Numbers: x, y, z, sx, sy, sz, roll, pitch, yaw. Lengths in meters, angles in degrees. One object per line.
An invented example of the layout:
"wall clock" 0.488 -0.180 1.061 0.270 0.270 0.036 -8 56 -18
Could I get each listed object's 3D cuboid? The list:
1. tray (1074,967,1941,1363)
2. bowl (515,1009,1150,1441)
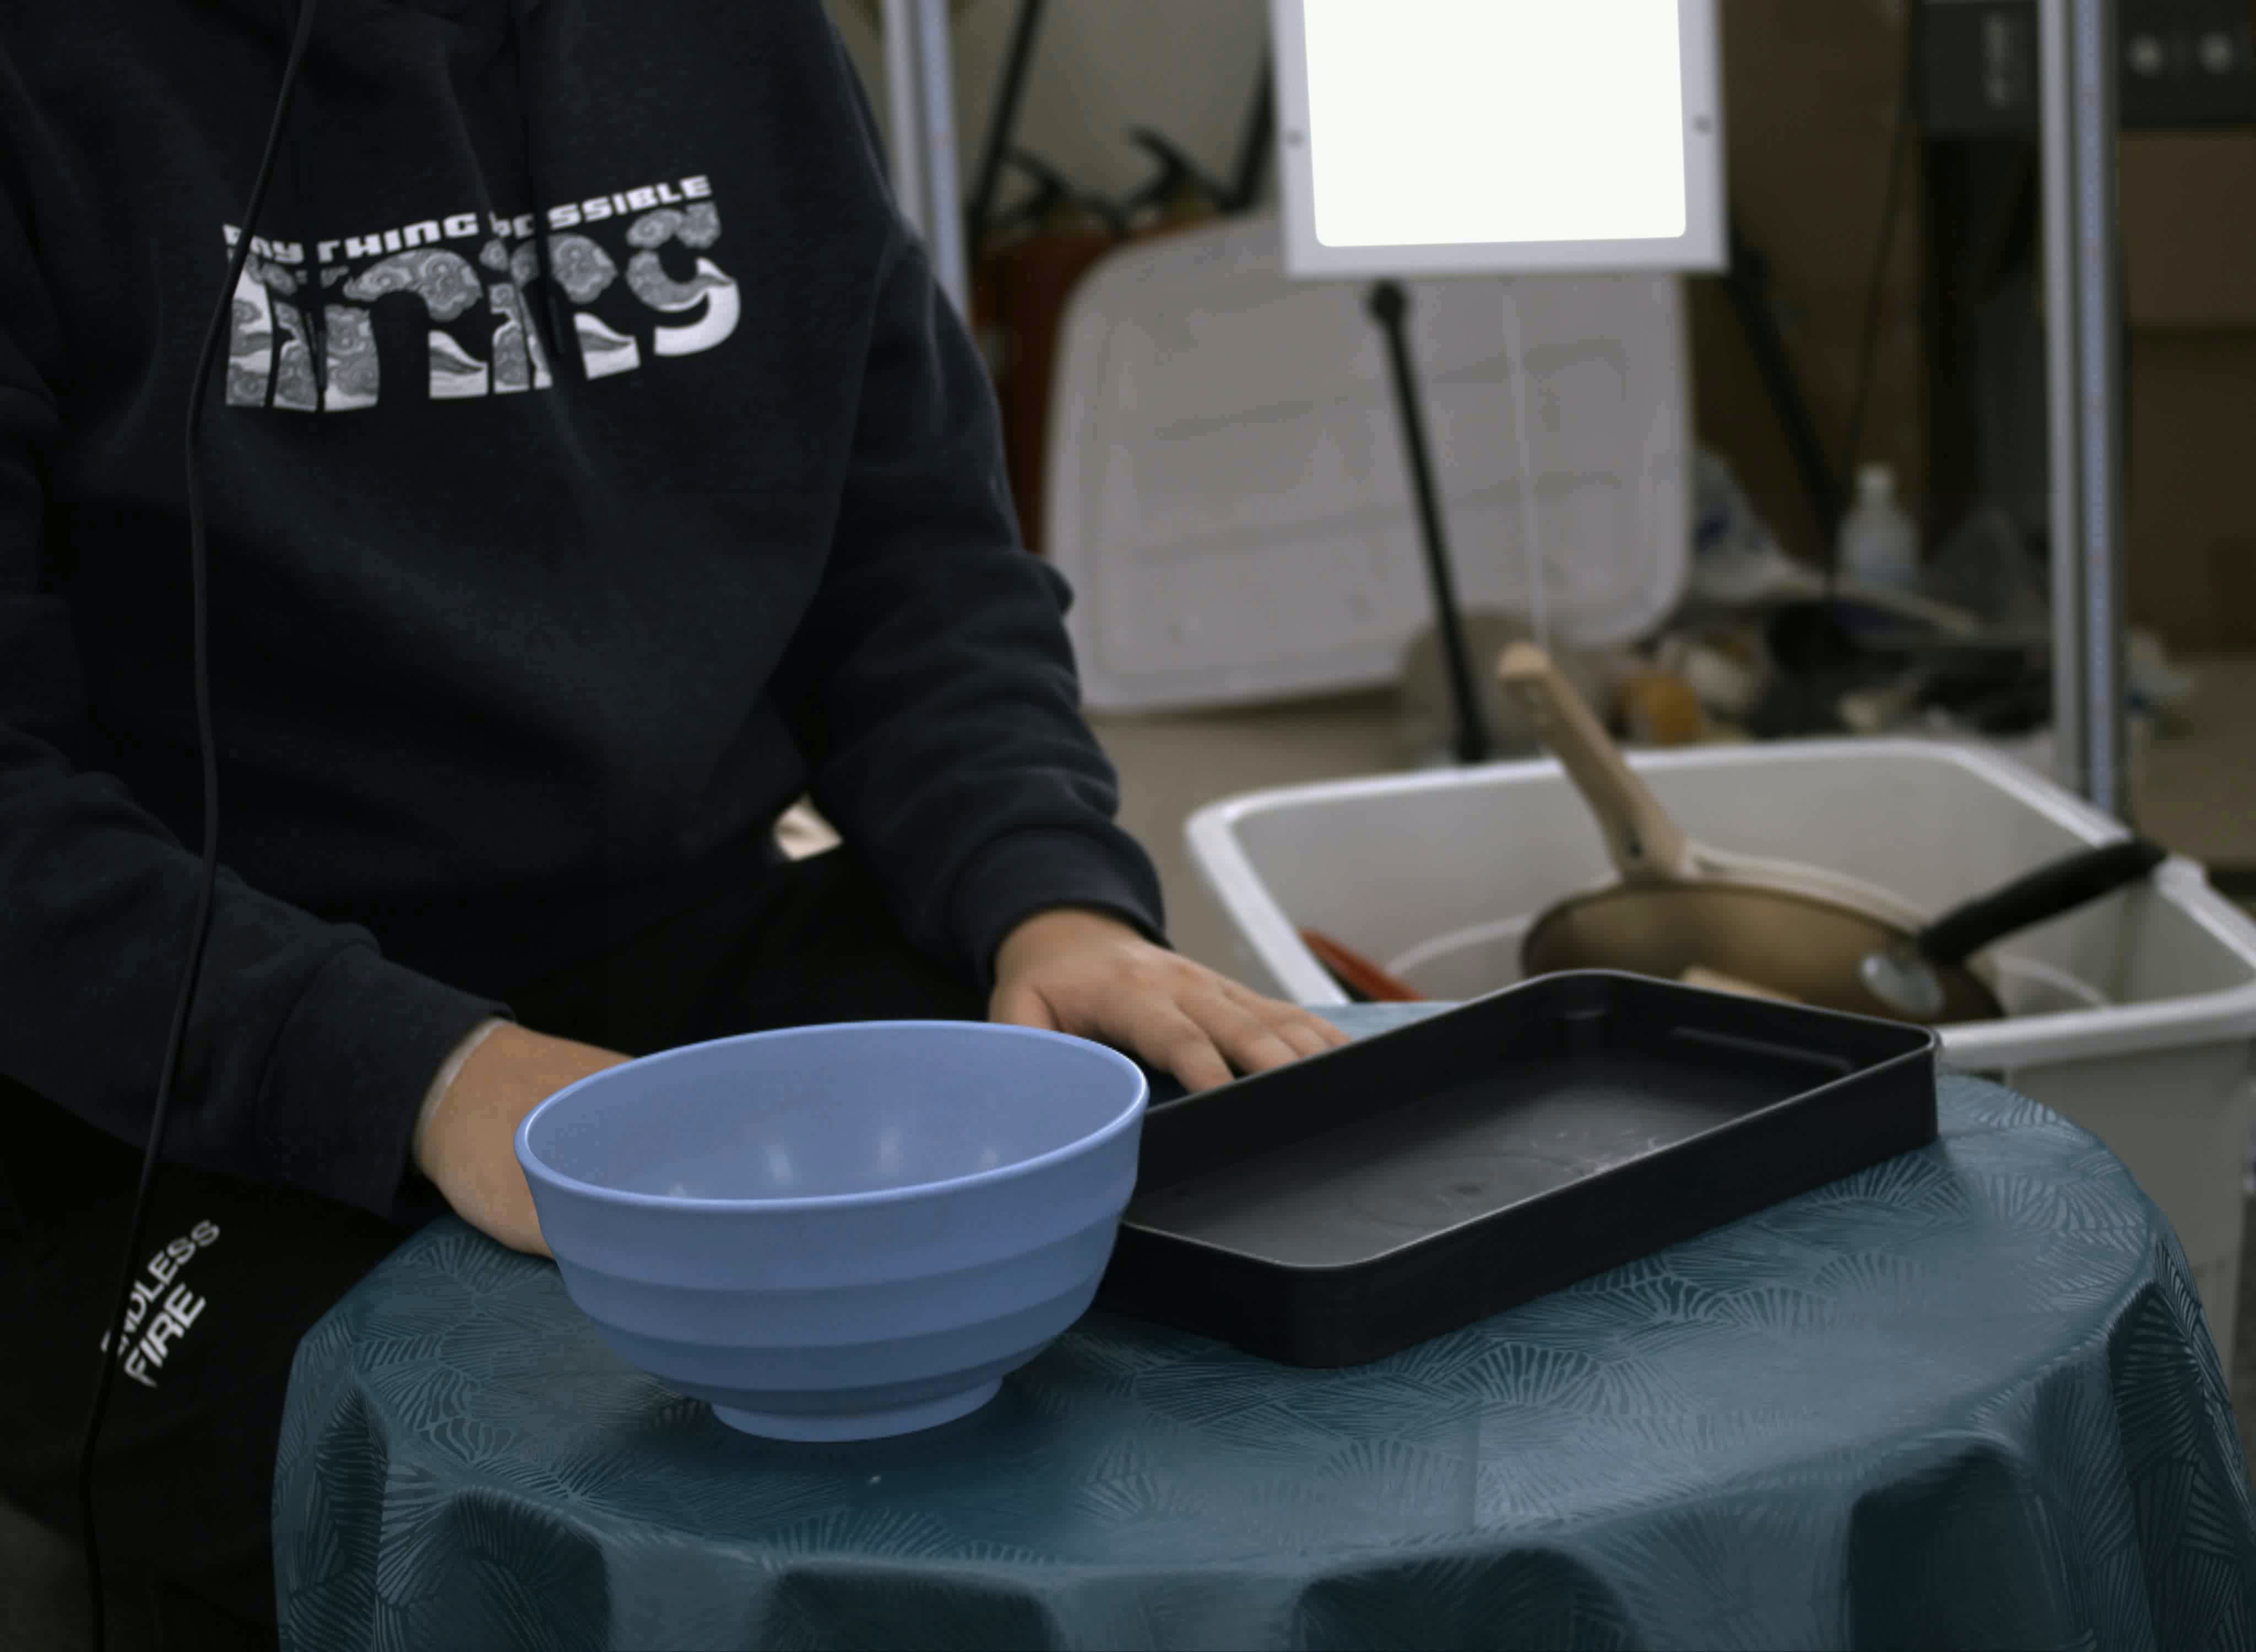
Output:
"tray" 0.114 0.109 1.850 0.310 0.037 0.188 -16 17 -39
"bowl" -0.088 0.130 1.708 0.196 0.096 0.196 -4 15 0
